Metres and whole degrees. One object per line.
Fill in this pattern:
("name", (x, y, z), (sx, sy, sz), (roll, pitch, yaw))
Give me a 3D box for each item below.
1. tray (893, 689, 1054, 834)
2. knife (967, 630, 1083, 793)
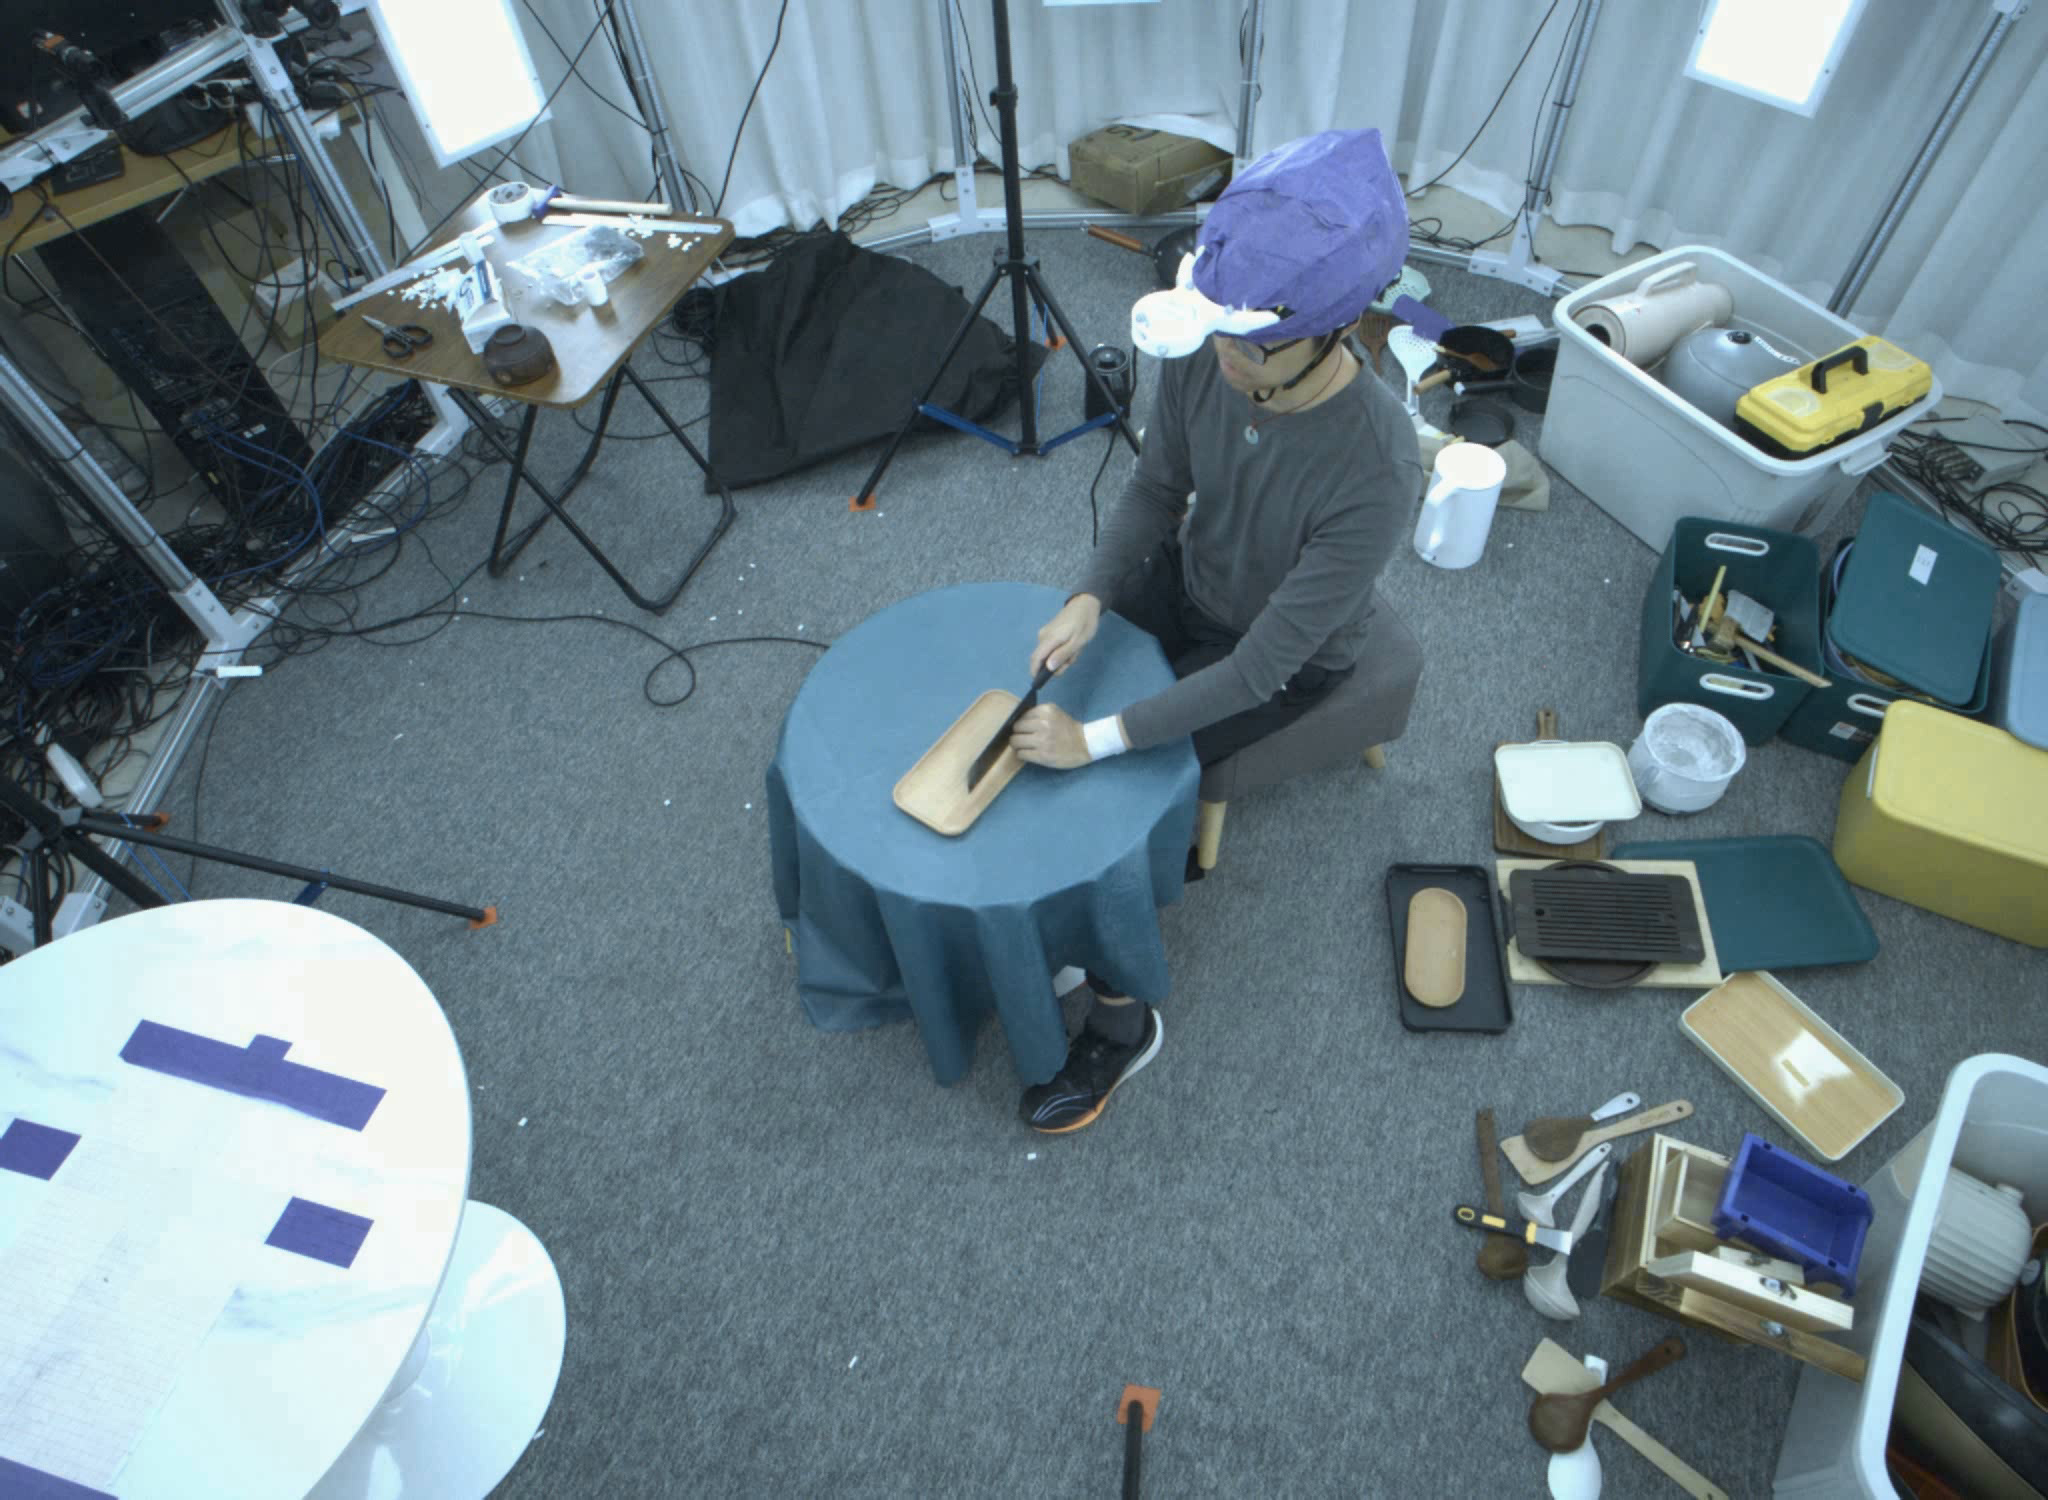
("tray", (-0.071, 0.014, 1.777), (0.128, 0.023, 0.252), (32, 60, 19))
("knife", (0.001, -0.061, 1.766), (0.020, 0.081, 0.303), (28, 65, 16))
